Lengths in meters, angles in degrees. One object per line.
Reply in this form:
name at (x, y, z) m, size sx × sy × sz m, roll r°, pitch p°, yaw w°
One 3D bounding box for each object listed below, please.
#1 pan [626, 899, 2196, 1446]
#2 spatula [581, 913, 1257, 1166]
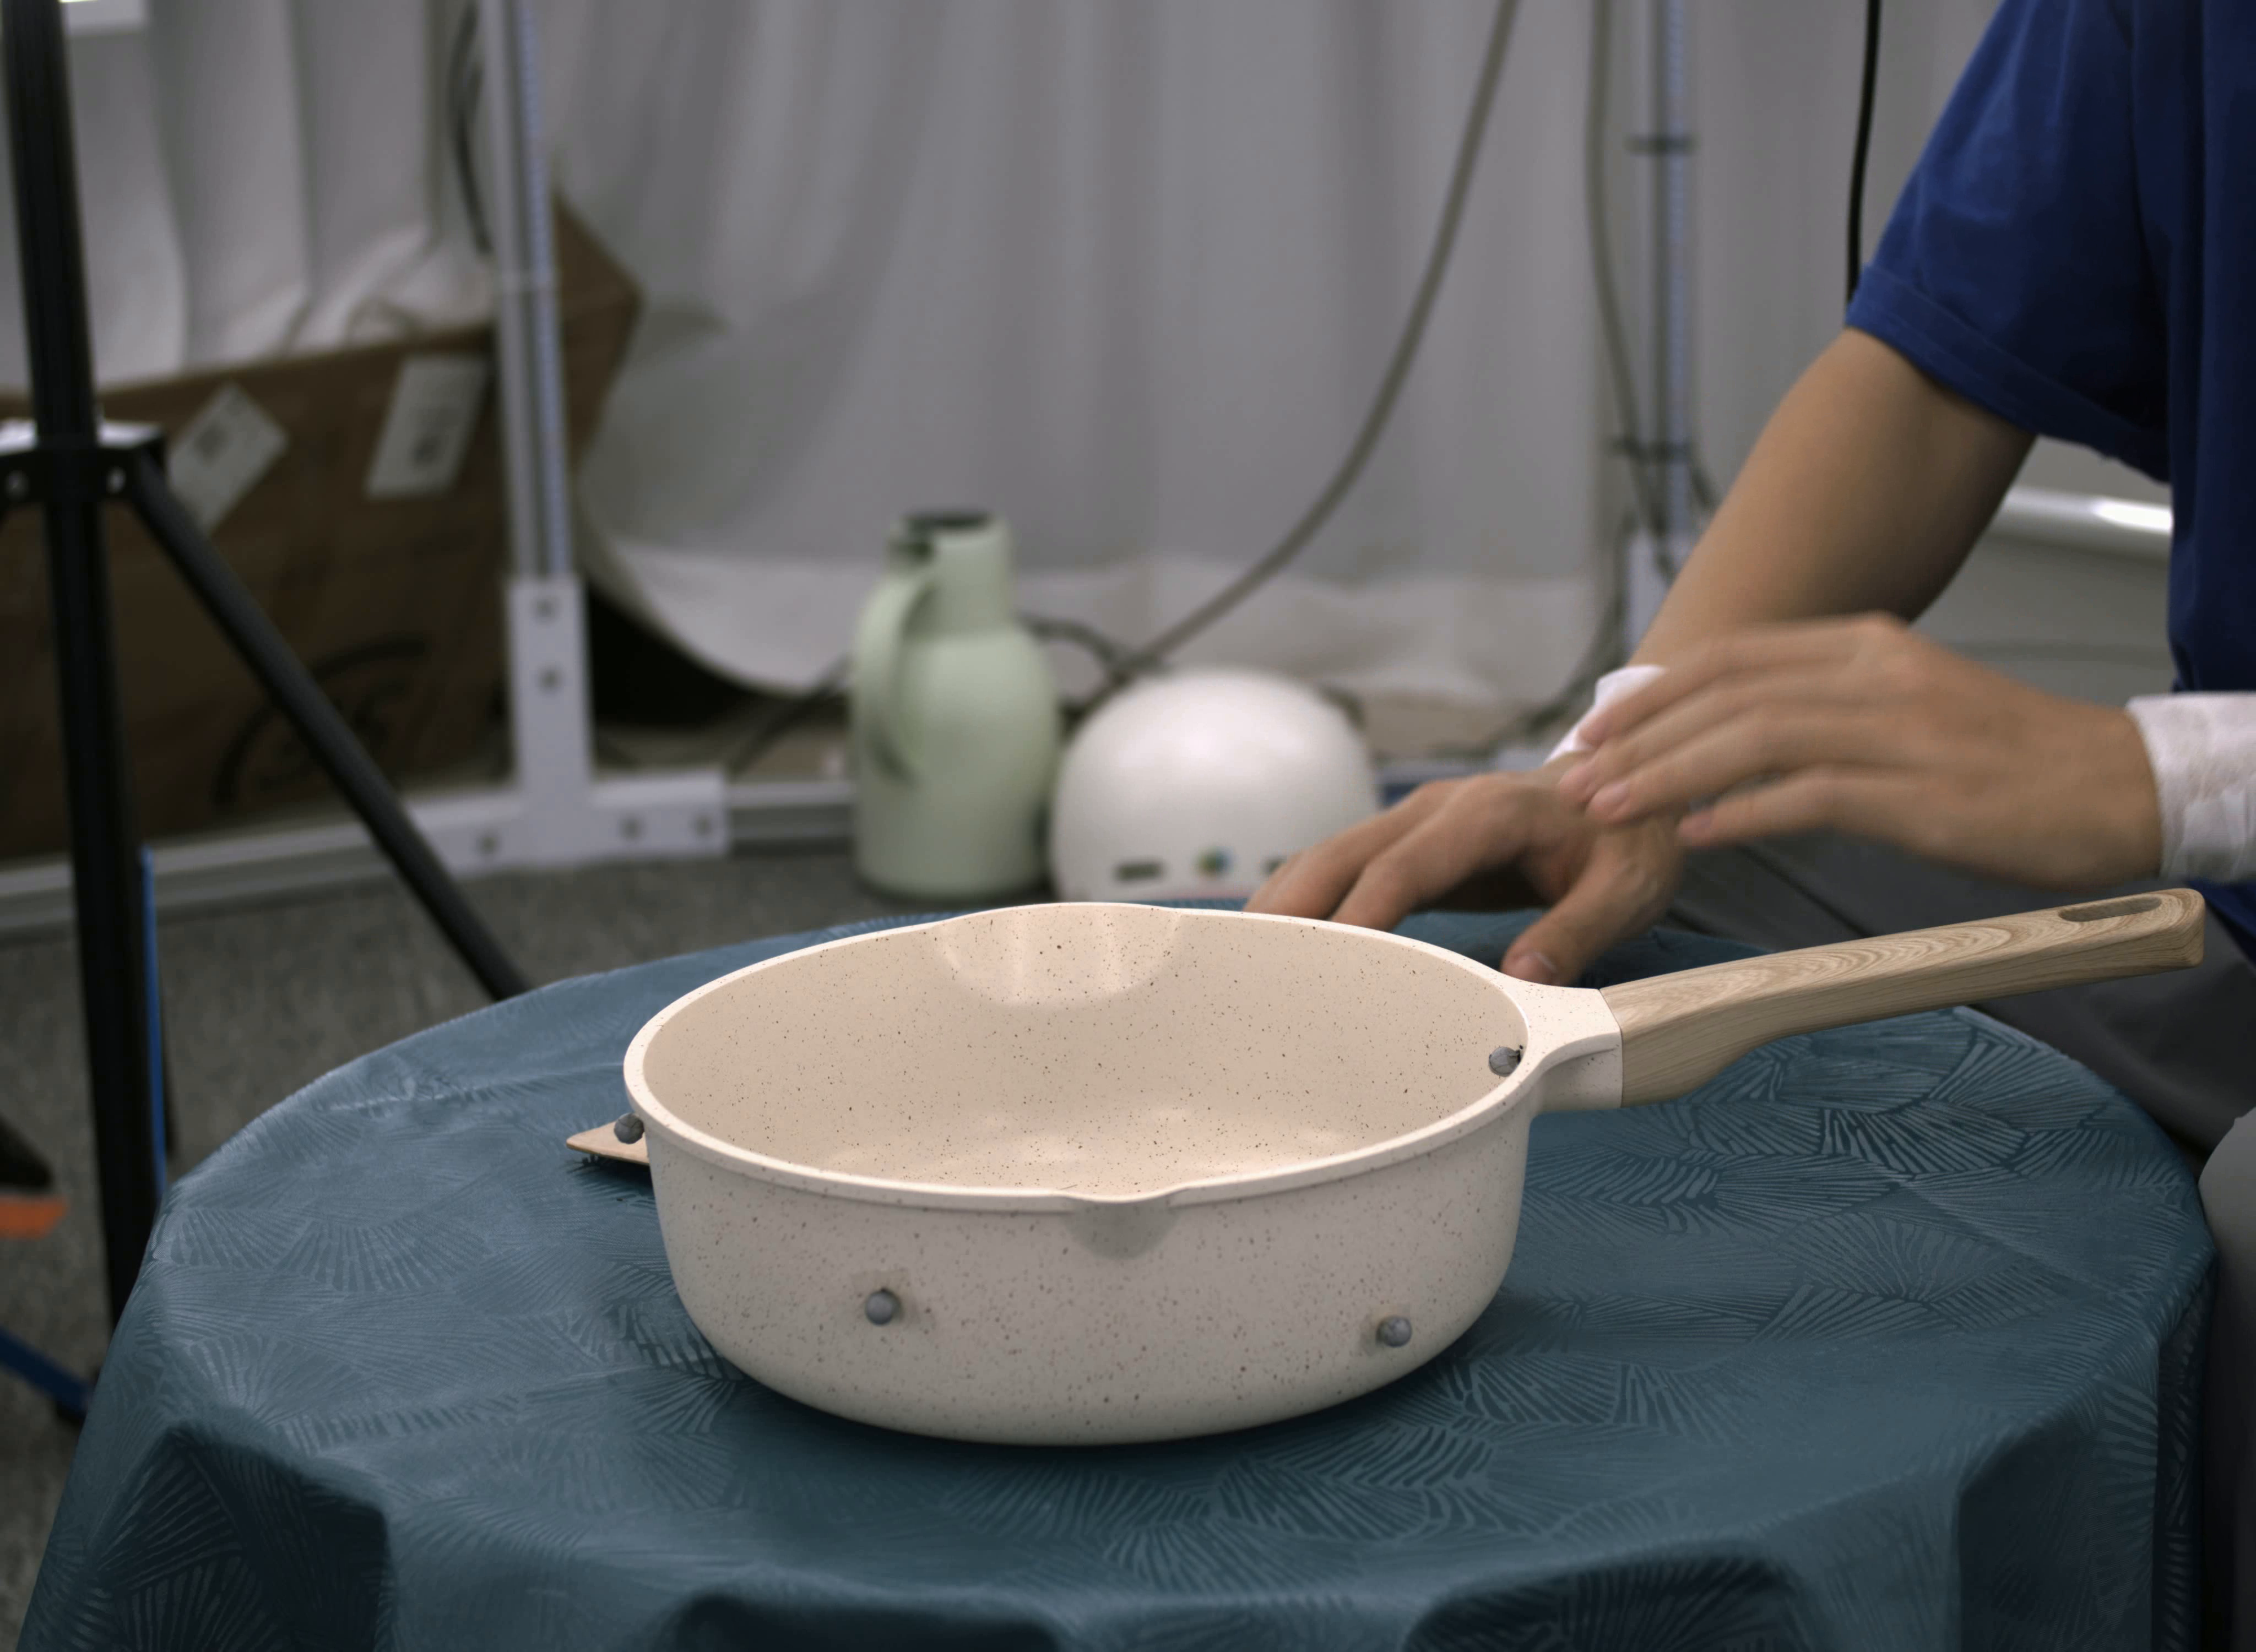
pan at (0.082, 0.084, 1.445) m, size 0.431 × 0.102 × 0.265 m, roll -3°, pitch 14°, yaw -4°
spatula at (-0.053, 0.068, 1.691) m, size 0.074 × 0.010 × 0.287 m, roll 8°, pitch 19°, yaw 38°
